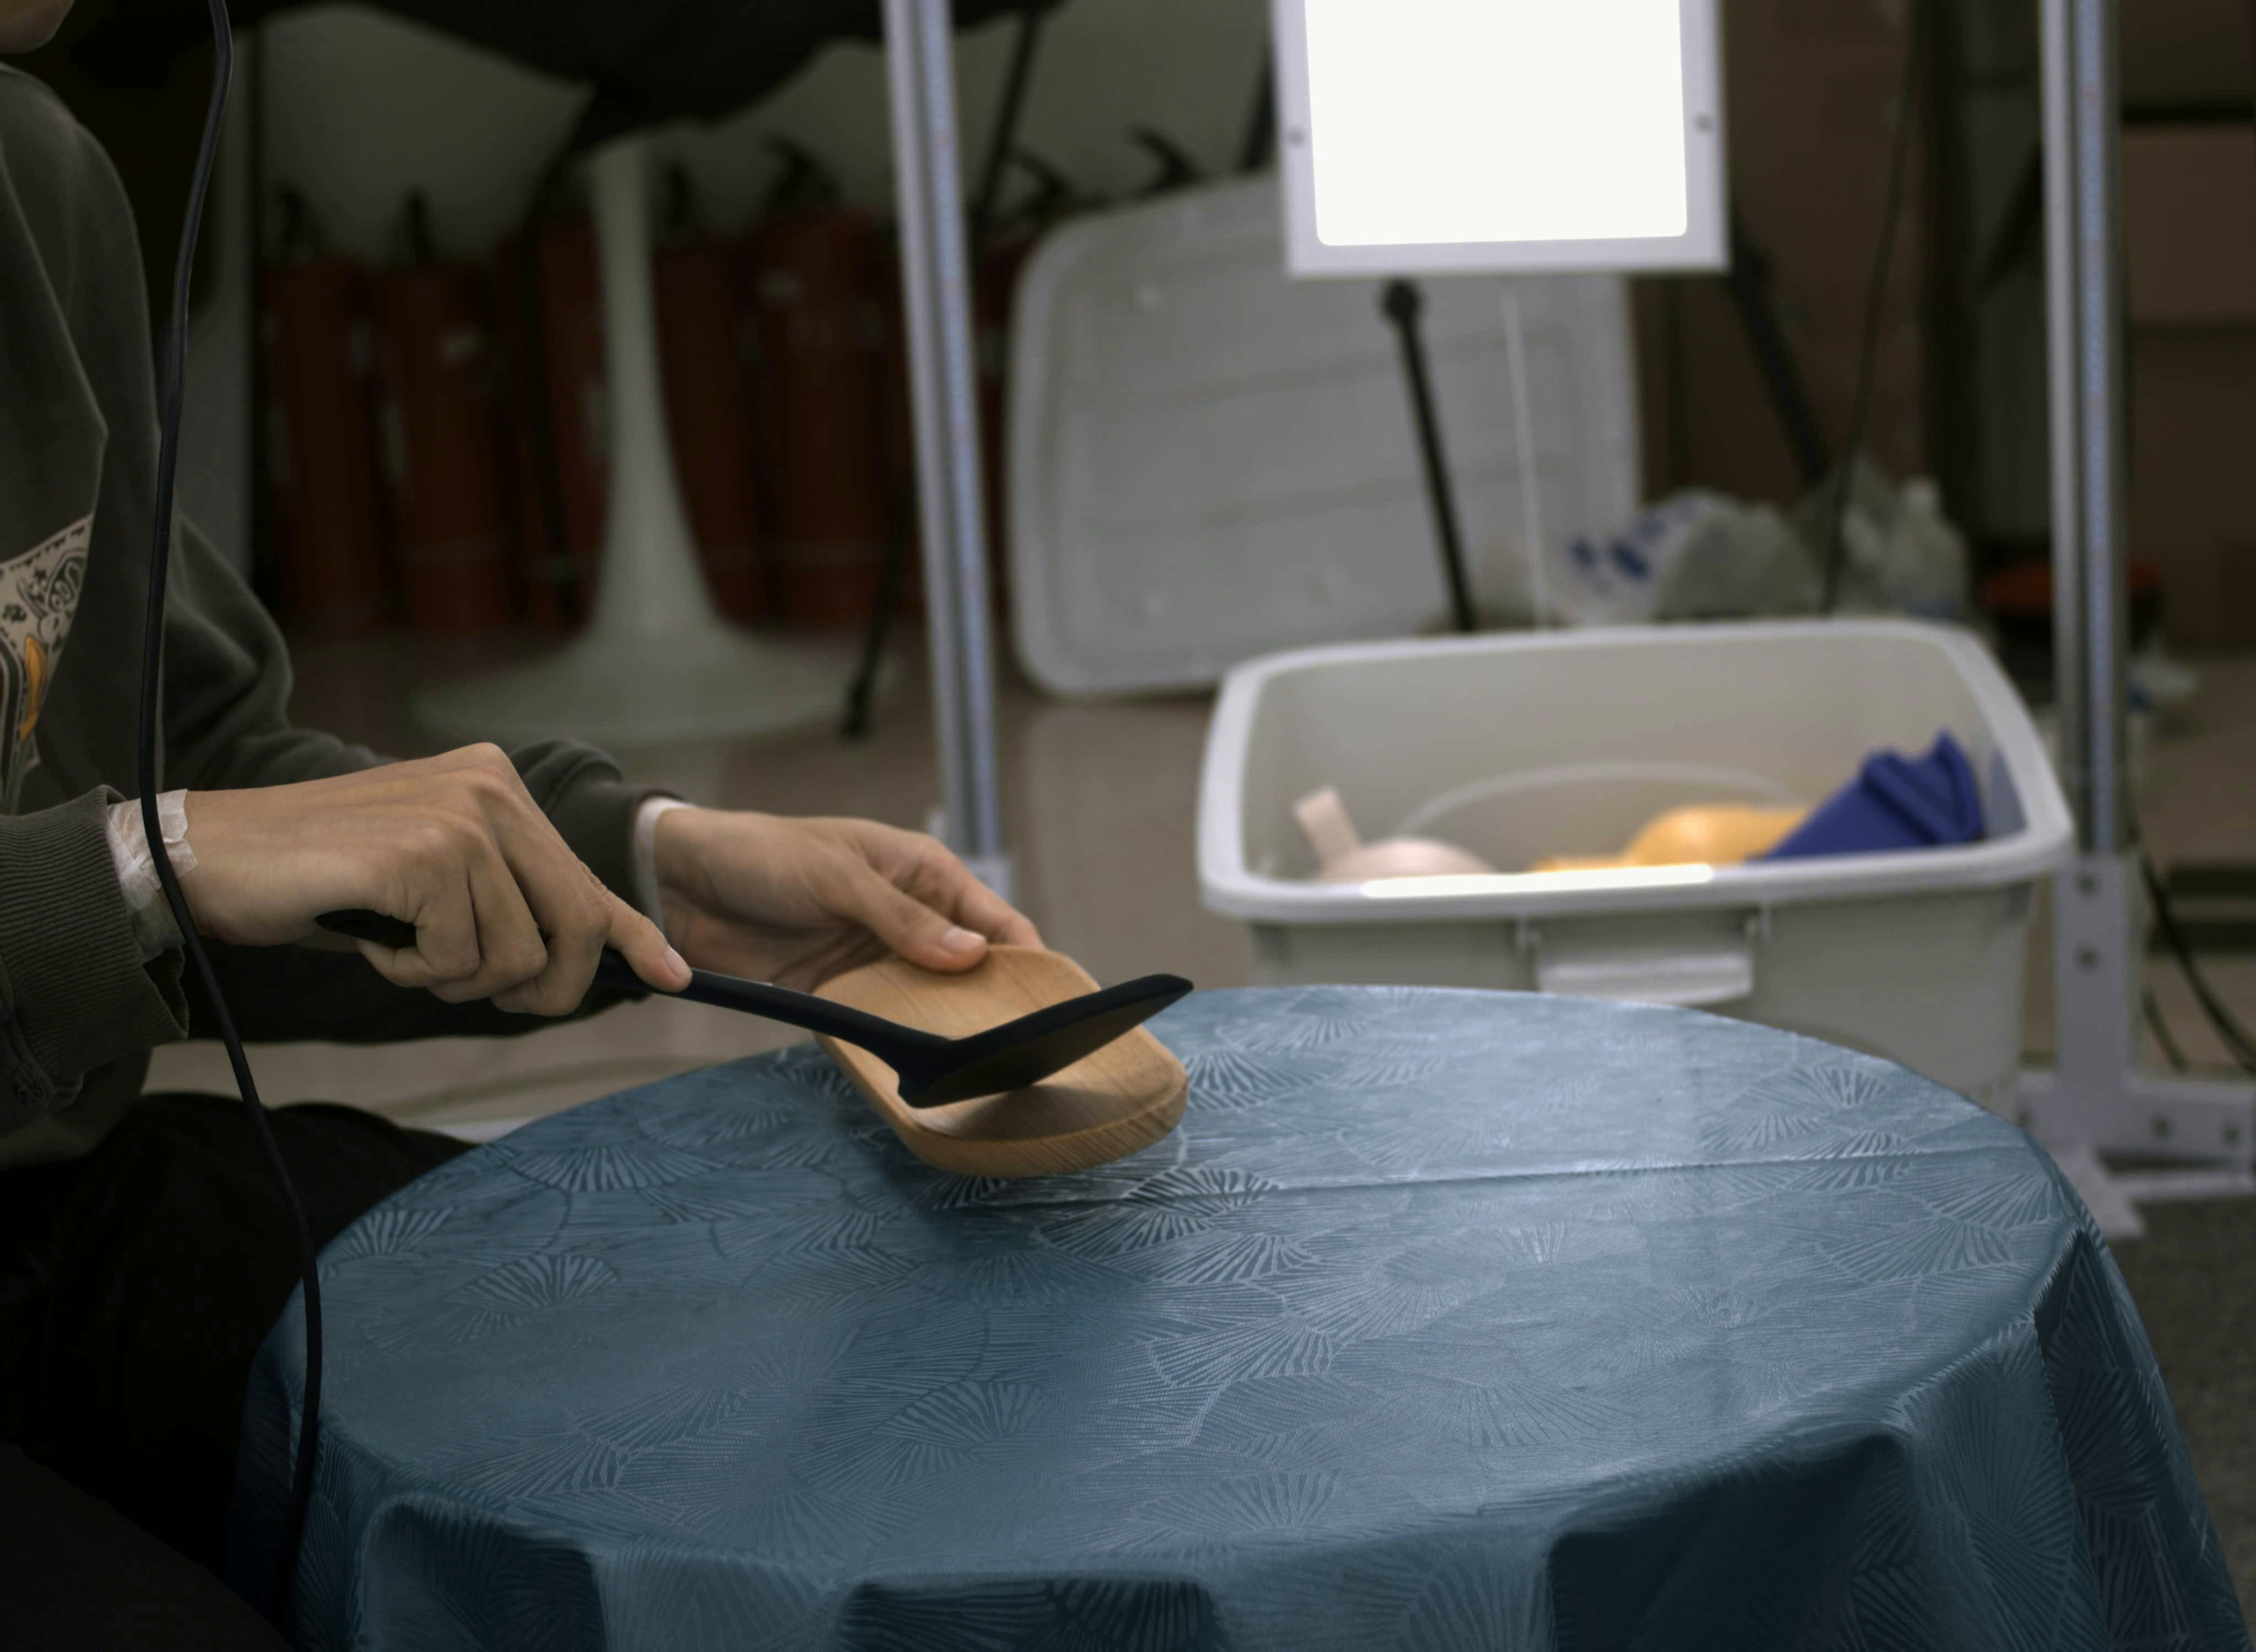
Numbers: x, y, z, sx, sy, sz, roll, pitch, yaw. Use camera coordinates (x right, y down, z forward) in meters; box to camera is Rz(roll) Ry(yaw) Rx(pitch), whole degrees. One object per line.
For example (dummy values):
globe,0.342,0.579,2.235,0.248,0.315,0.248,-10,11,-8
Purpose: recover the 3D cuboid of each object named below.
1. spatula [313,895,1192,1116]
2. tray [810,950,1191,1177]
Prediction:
spatula,-0.126,0.051,1.802,0.319,0.040,0.102,17,-35,-34
tray,-0.047,0.083,1.954,0.100,0.020,0.233,-13,18,-13
